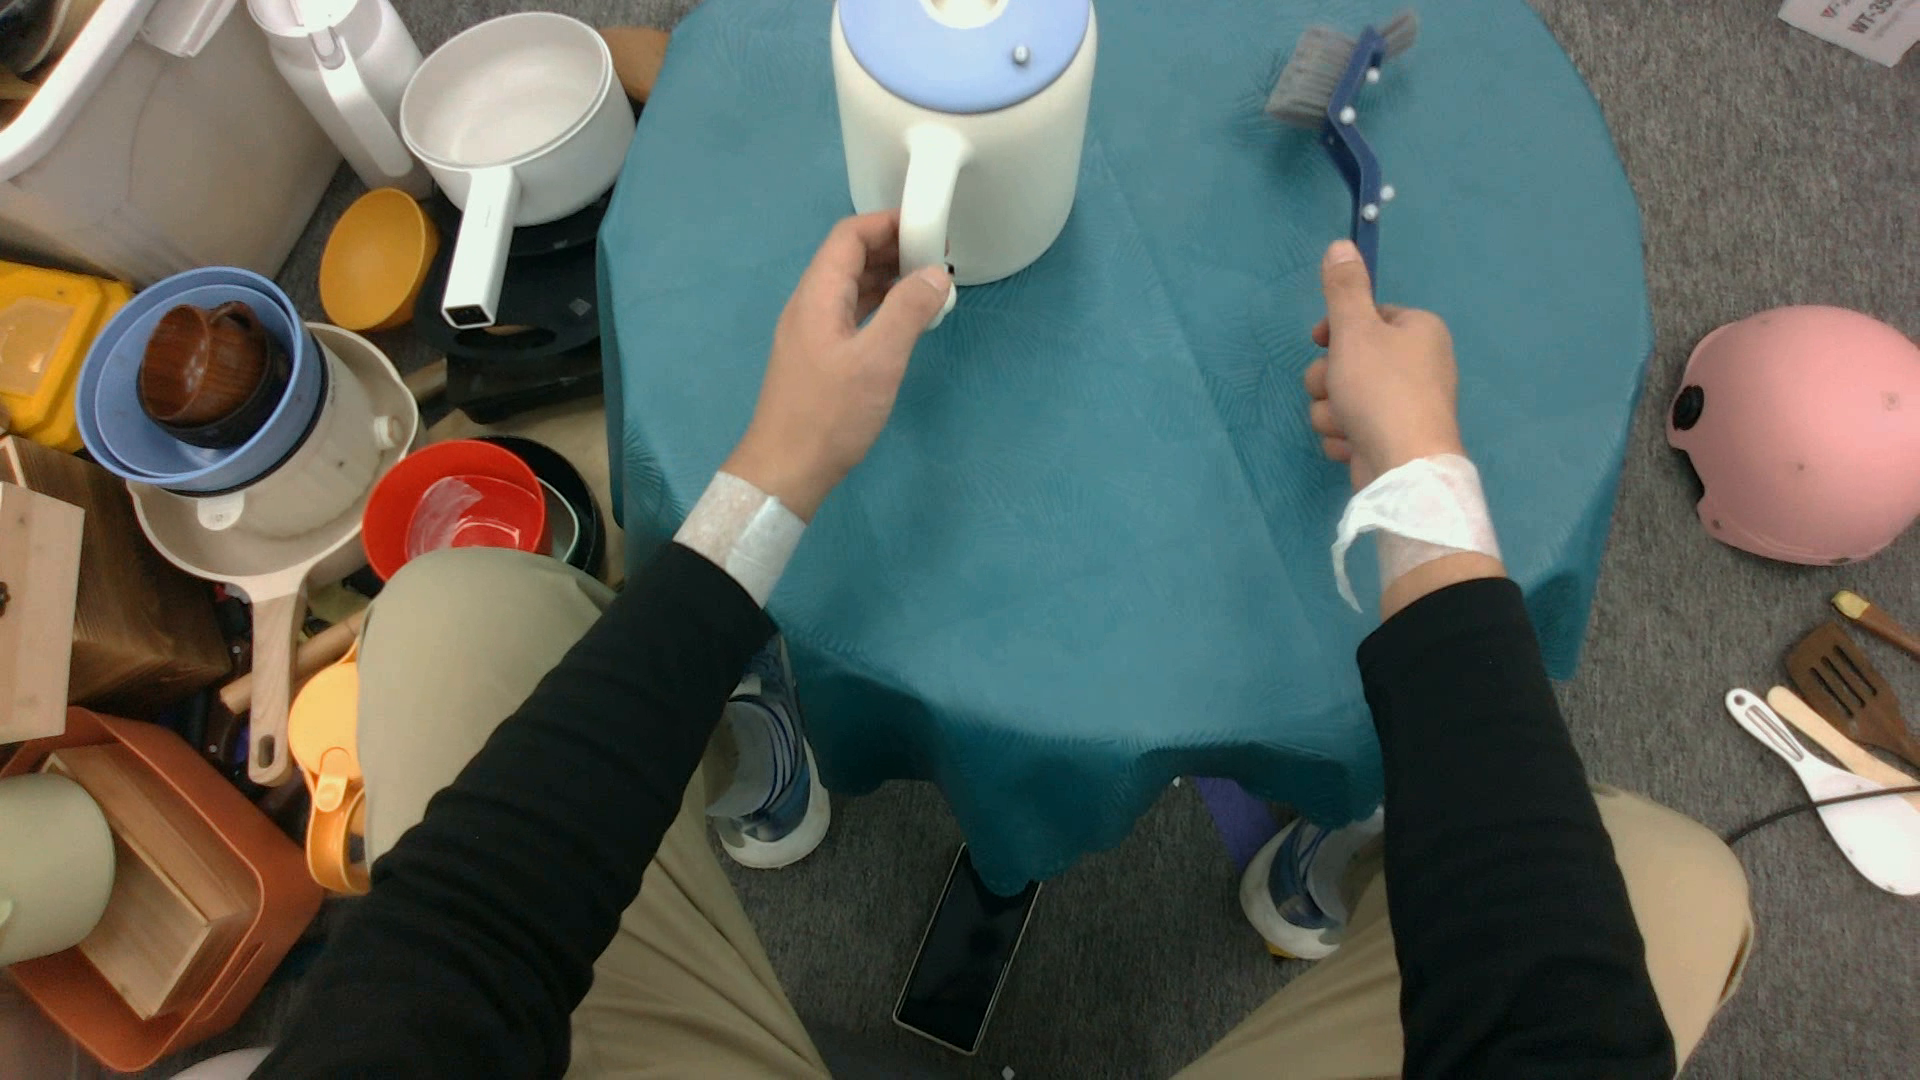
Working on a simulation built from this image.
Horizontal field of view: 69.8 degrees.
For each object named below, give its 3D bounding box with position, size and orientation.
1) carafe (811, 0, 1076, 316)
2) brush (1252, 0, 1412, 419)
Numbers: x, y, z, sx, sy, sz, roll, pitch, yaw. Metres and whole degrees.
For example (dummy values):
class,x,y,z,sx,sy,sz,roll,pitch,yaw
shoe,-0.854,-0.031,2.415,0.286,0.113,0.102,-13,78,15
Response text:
class,x,y,z,sx,sy,sz,roll,pitch,yaw
carafe,-0.013,-0.215,0.720,0.132,0.182,0.191,9,75,2
brush,0.211,-0.190,0.741,0.096,0.033,0.274,1,66,-1
